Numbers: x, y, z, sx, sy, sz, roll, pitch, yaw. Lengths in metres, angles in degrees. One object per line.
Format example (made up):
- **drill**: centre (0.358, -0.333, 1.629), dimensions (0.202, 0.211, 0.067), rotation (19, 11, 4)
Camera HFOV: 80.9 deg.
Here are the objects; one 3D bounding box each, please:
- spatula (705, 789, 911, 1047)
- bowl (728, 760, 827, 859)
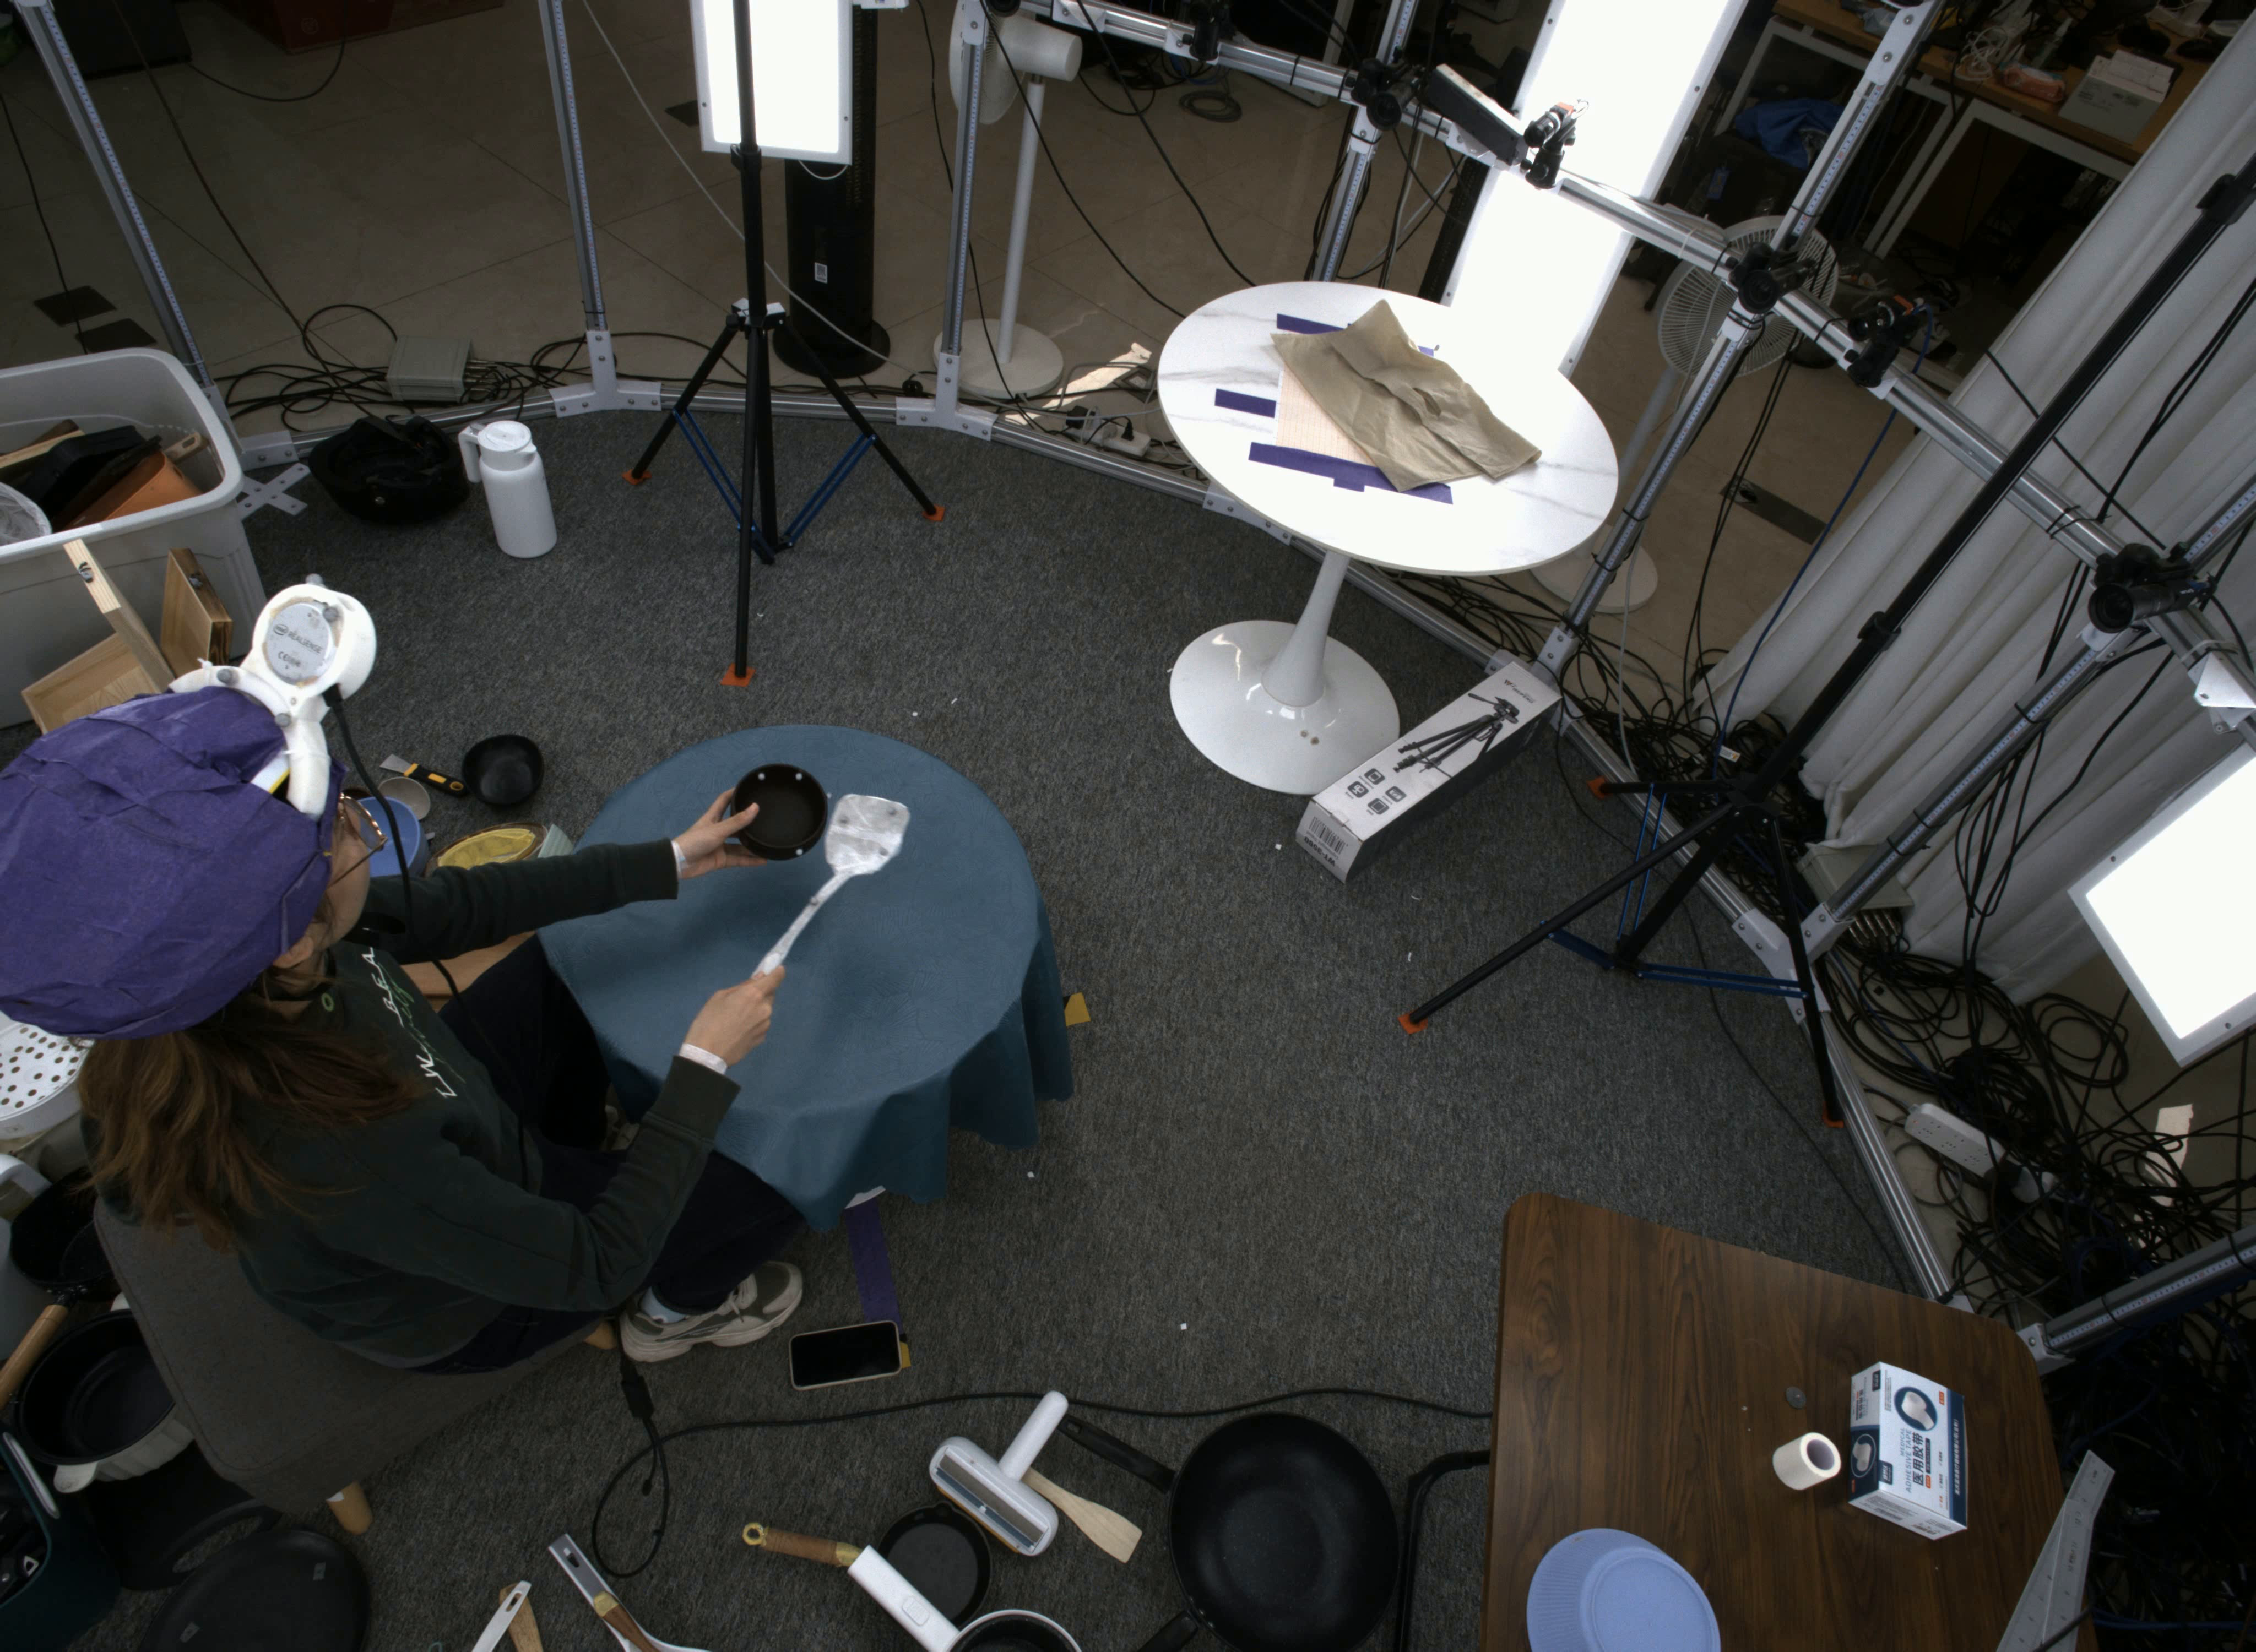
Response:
- **spatula**: centre (-0.359, 0.093, 1.432), dimensions (0.096, 0.046, 0.362), rotation (15, 47, 17)
- **bowl**: centre (-0.430, -0.014, 1.585), dimensions (0.118, 0.070, 0.116), rotation (8, 63, -14)
